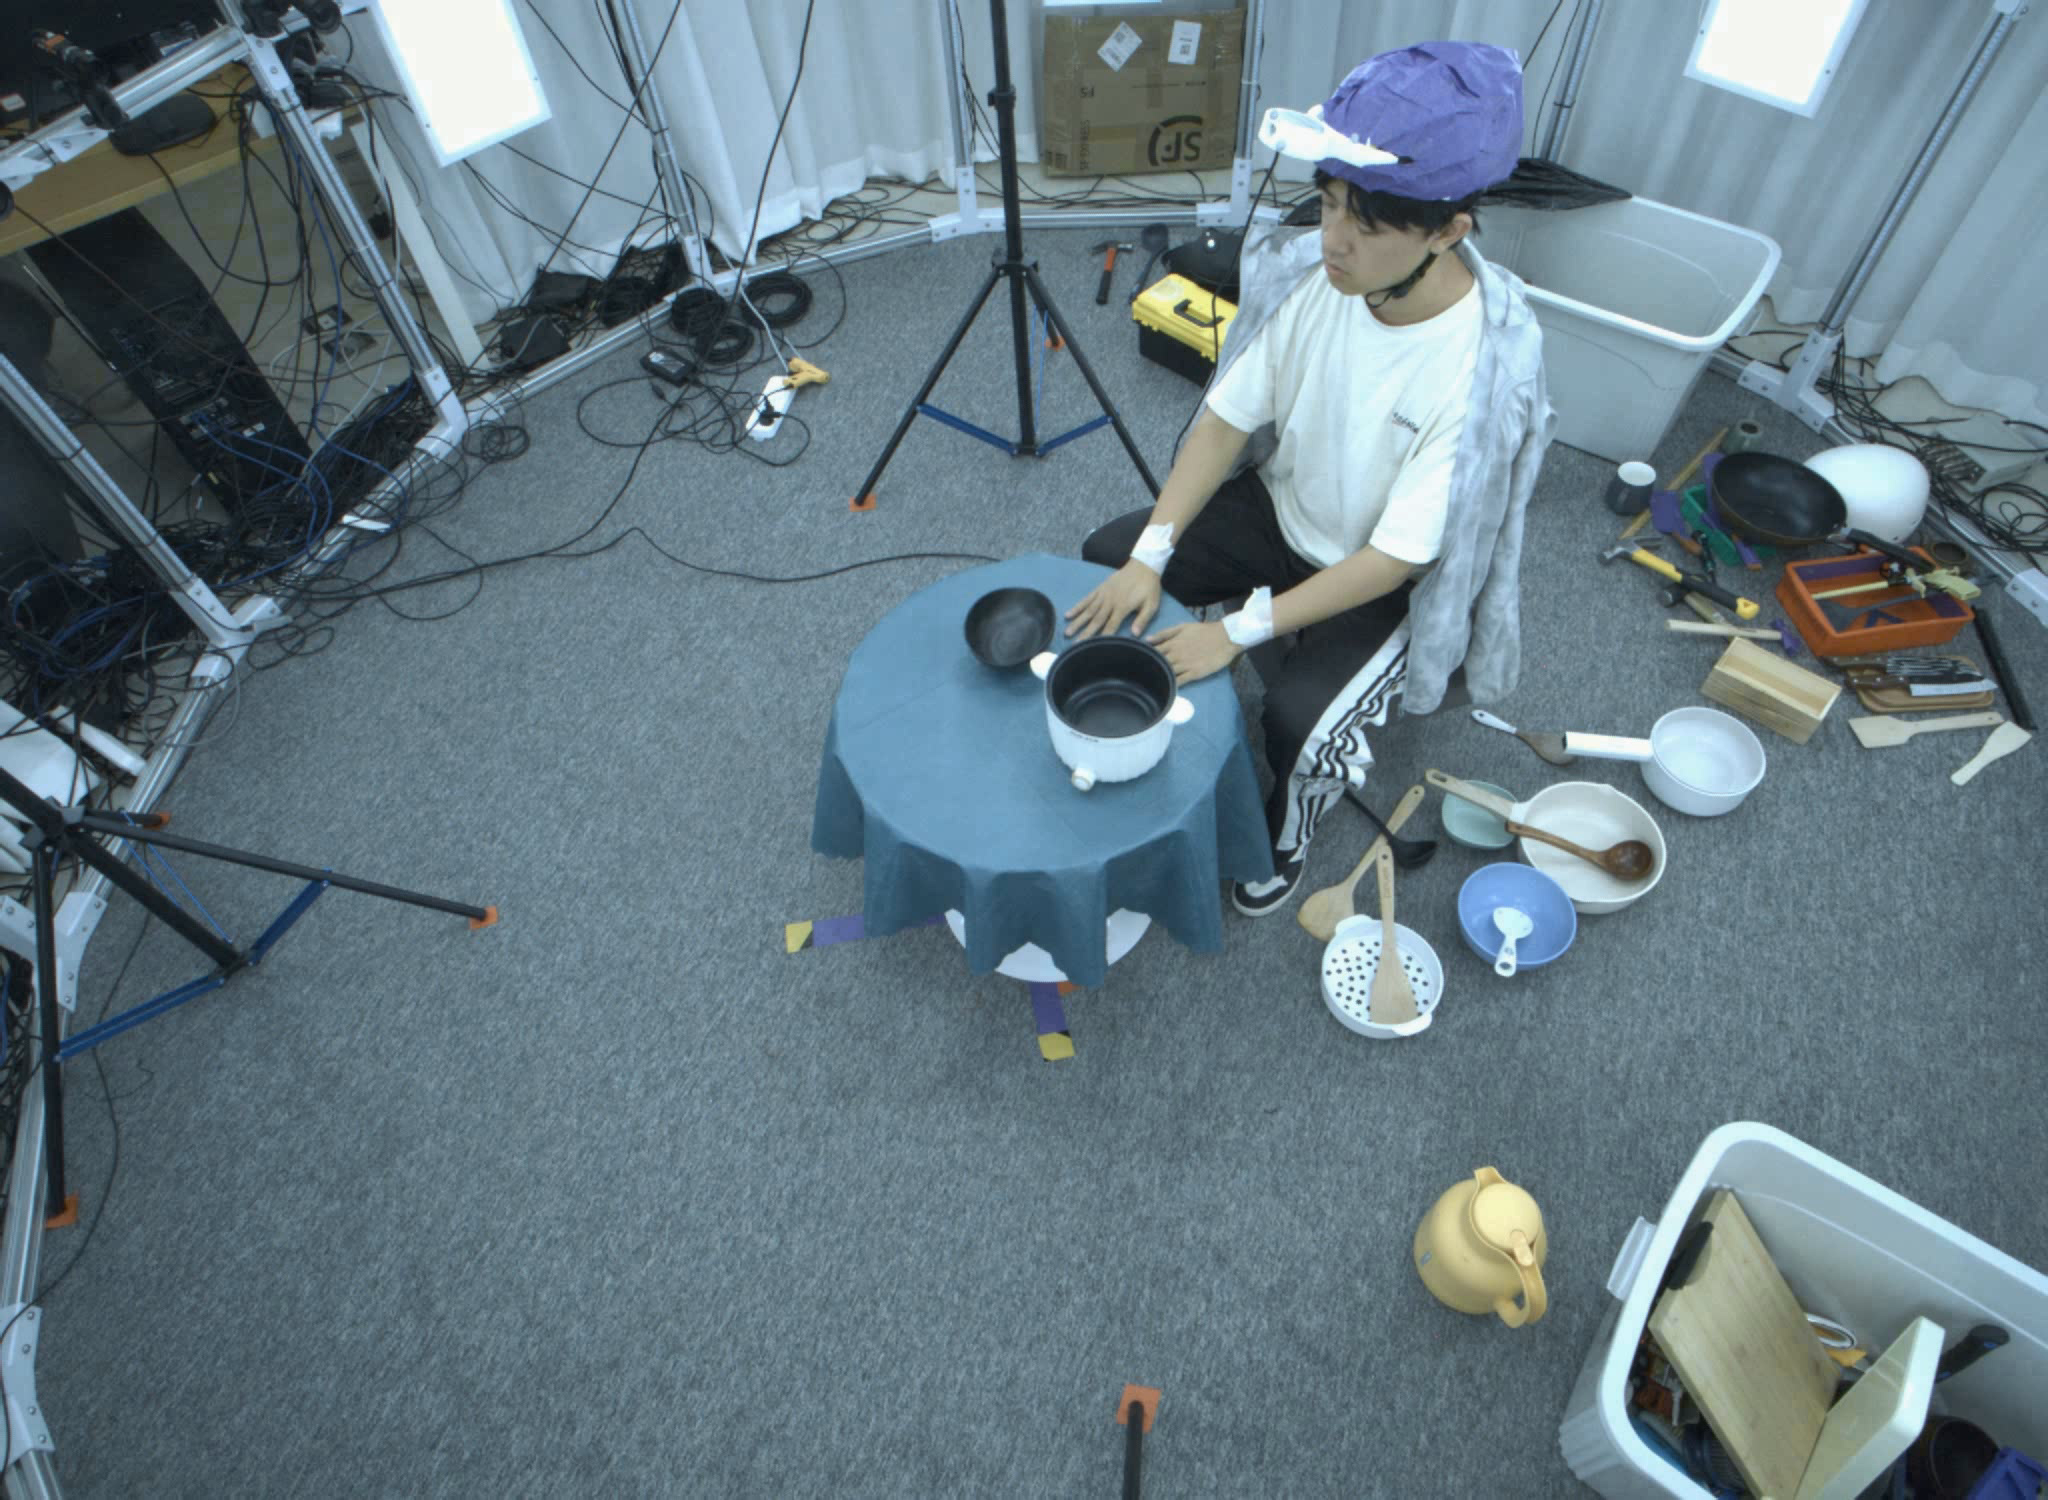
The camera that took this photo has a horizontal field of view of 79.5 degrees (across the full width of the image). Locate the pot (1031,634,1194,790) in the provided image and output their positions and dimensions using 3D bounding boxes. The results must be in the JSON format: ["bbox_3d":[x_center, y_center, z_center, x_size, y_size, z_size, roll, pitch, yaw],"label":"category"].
[{"bbox_3d":[0.121,-0.047,1.734,0.237,0.144,0.191,19,55,16],"label":"pot"}]

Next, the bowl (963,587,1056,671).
[{"bbox_3d":[-0.021,-0.178,1.877,0.136,0.067,0.170,13,55,10],"label":"bowl"}]
